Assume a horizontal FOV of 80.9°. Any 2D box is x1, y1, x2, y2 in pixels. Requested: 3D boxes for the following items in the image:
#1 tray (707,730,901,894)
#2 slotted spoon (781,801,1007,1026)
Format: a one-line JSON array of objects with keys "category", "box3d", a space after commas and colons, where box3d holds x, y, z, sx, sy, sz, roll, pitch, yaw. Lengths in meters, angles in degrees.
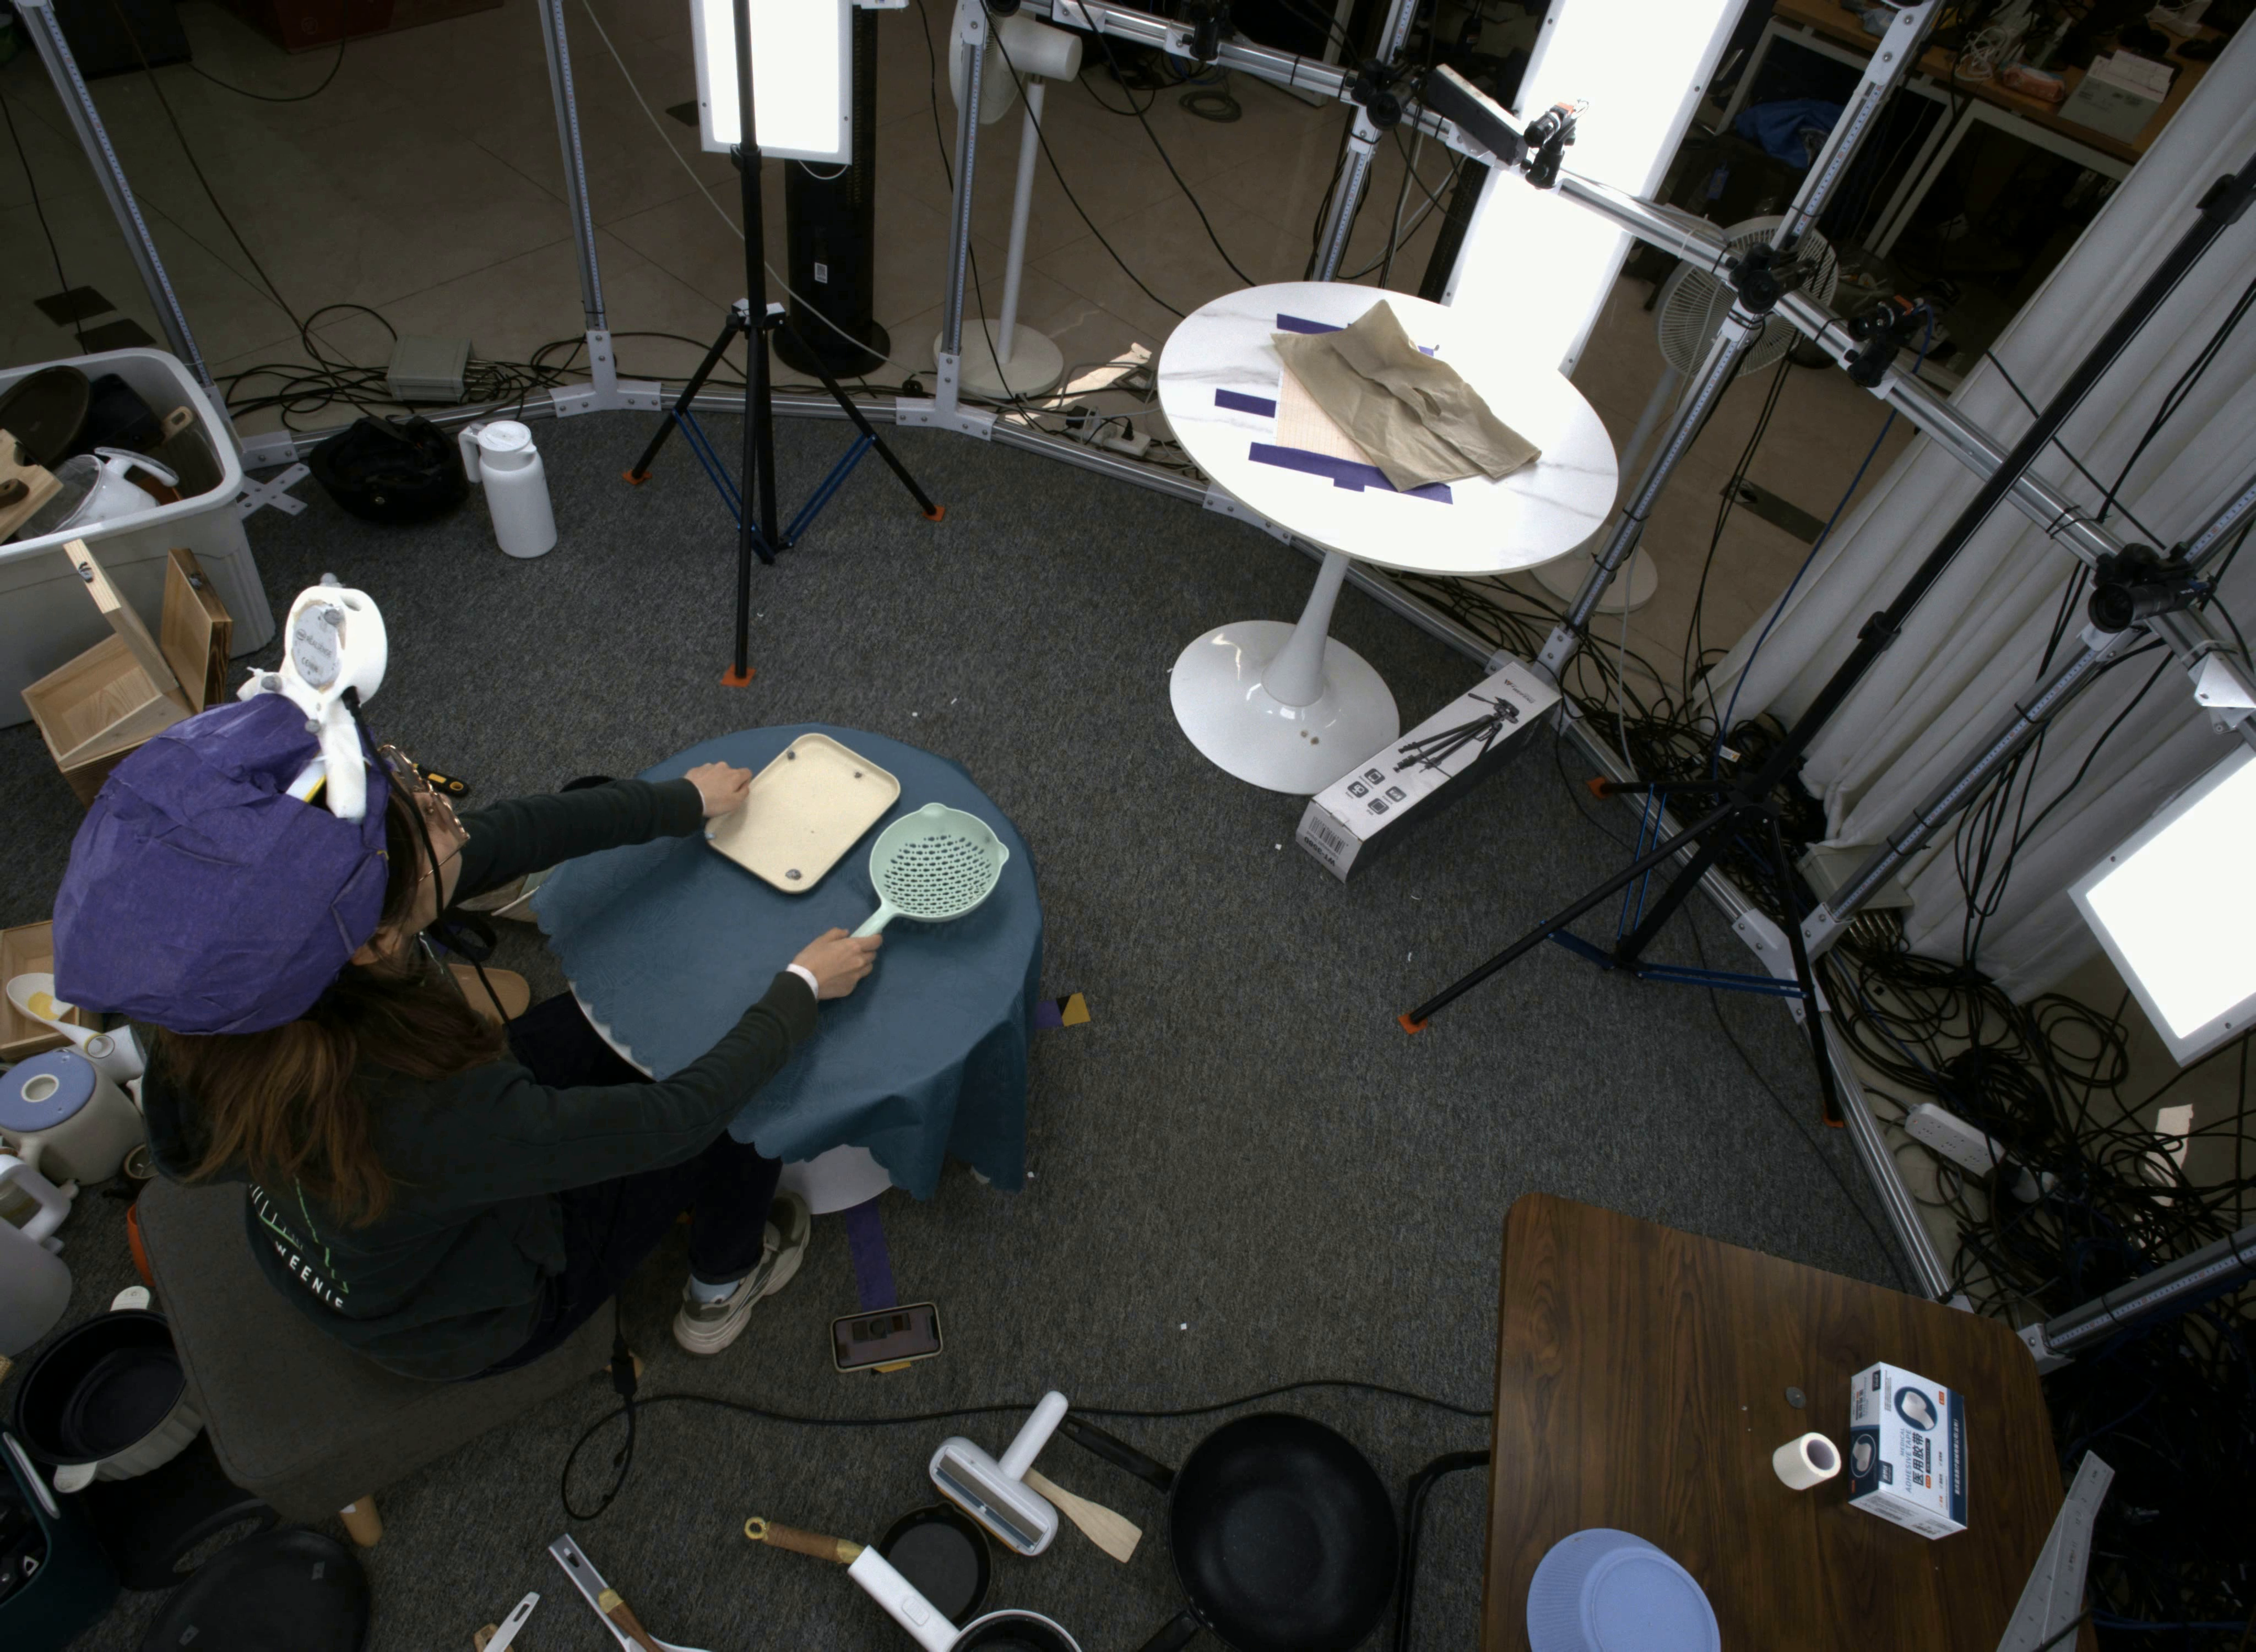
[{"category": "tray", "box3d": [-0.429, -0.021, 1.730, 0.169, 0.018, 0.239, 31, 53, 7]}, {"category": "slotted spoon", "box3d": [-0.305, 0.111, 1.632, 0.165, 0.077, 0.359, 32, 51, 19]}]
